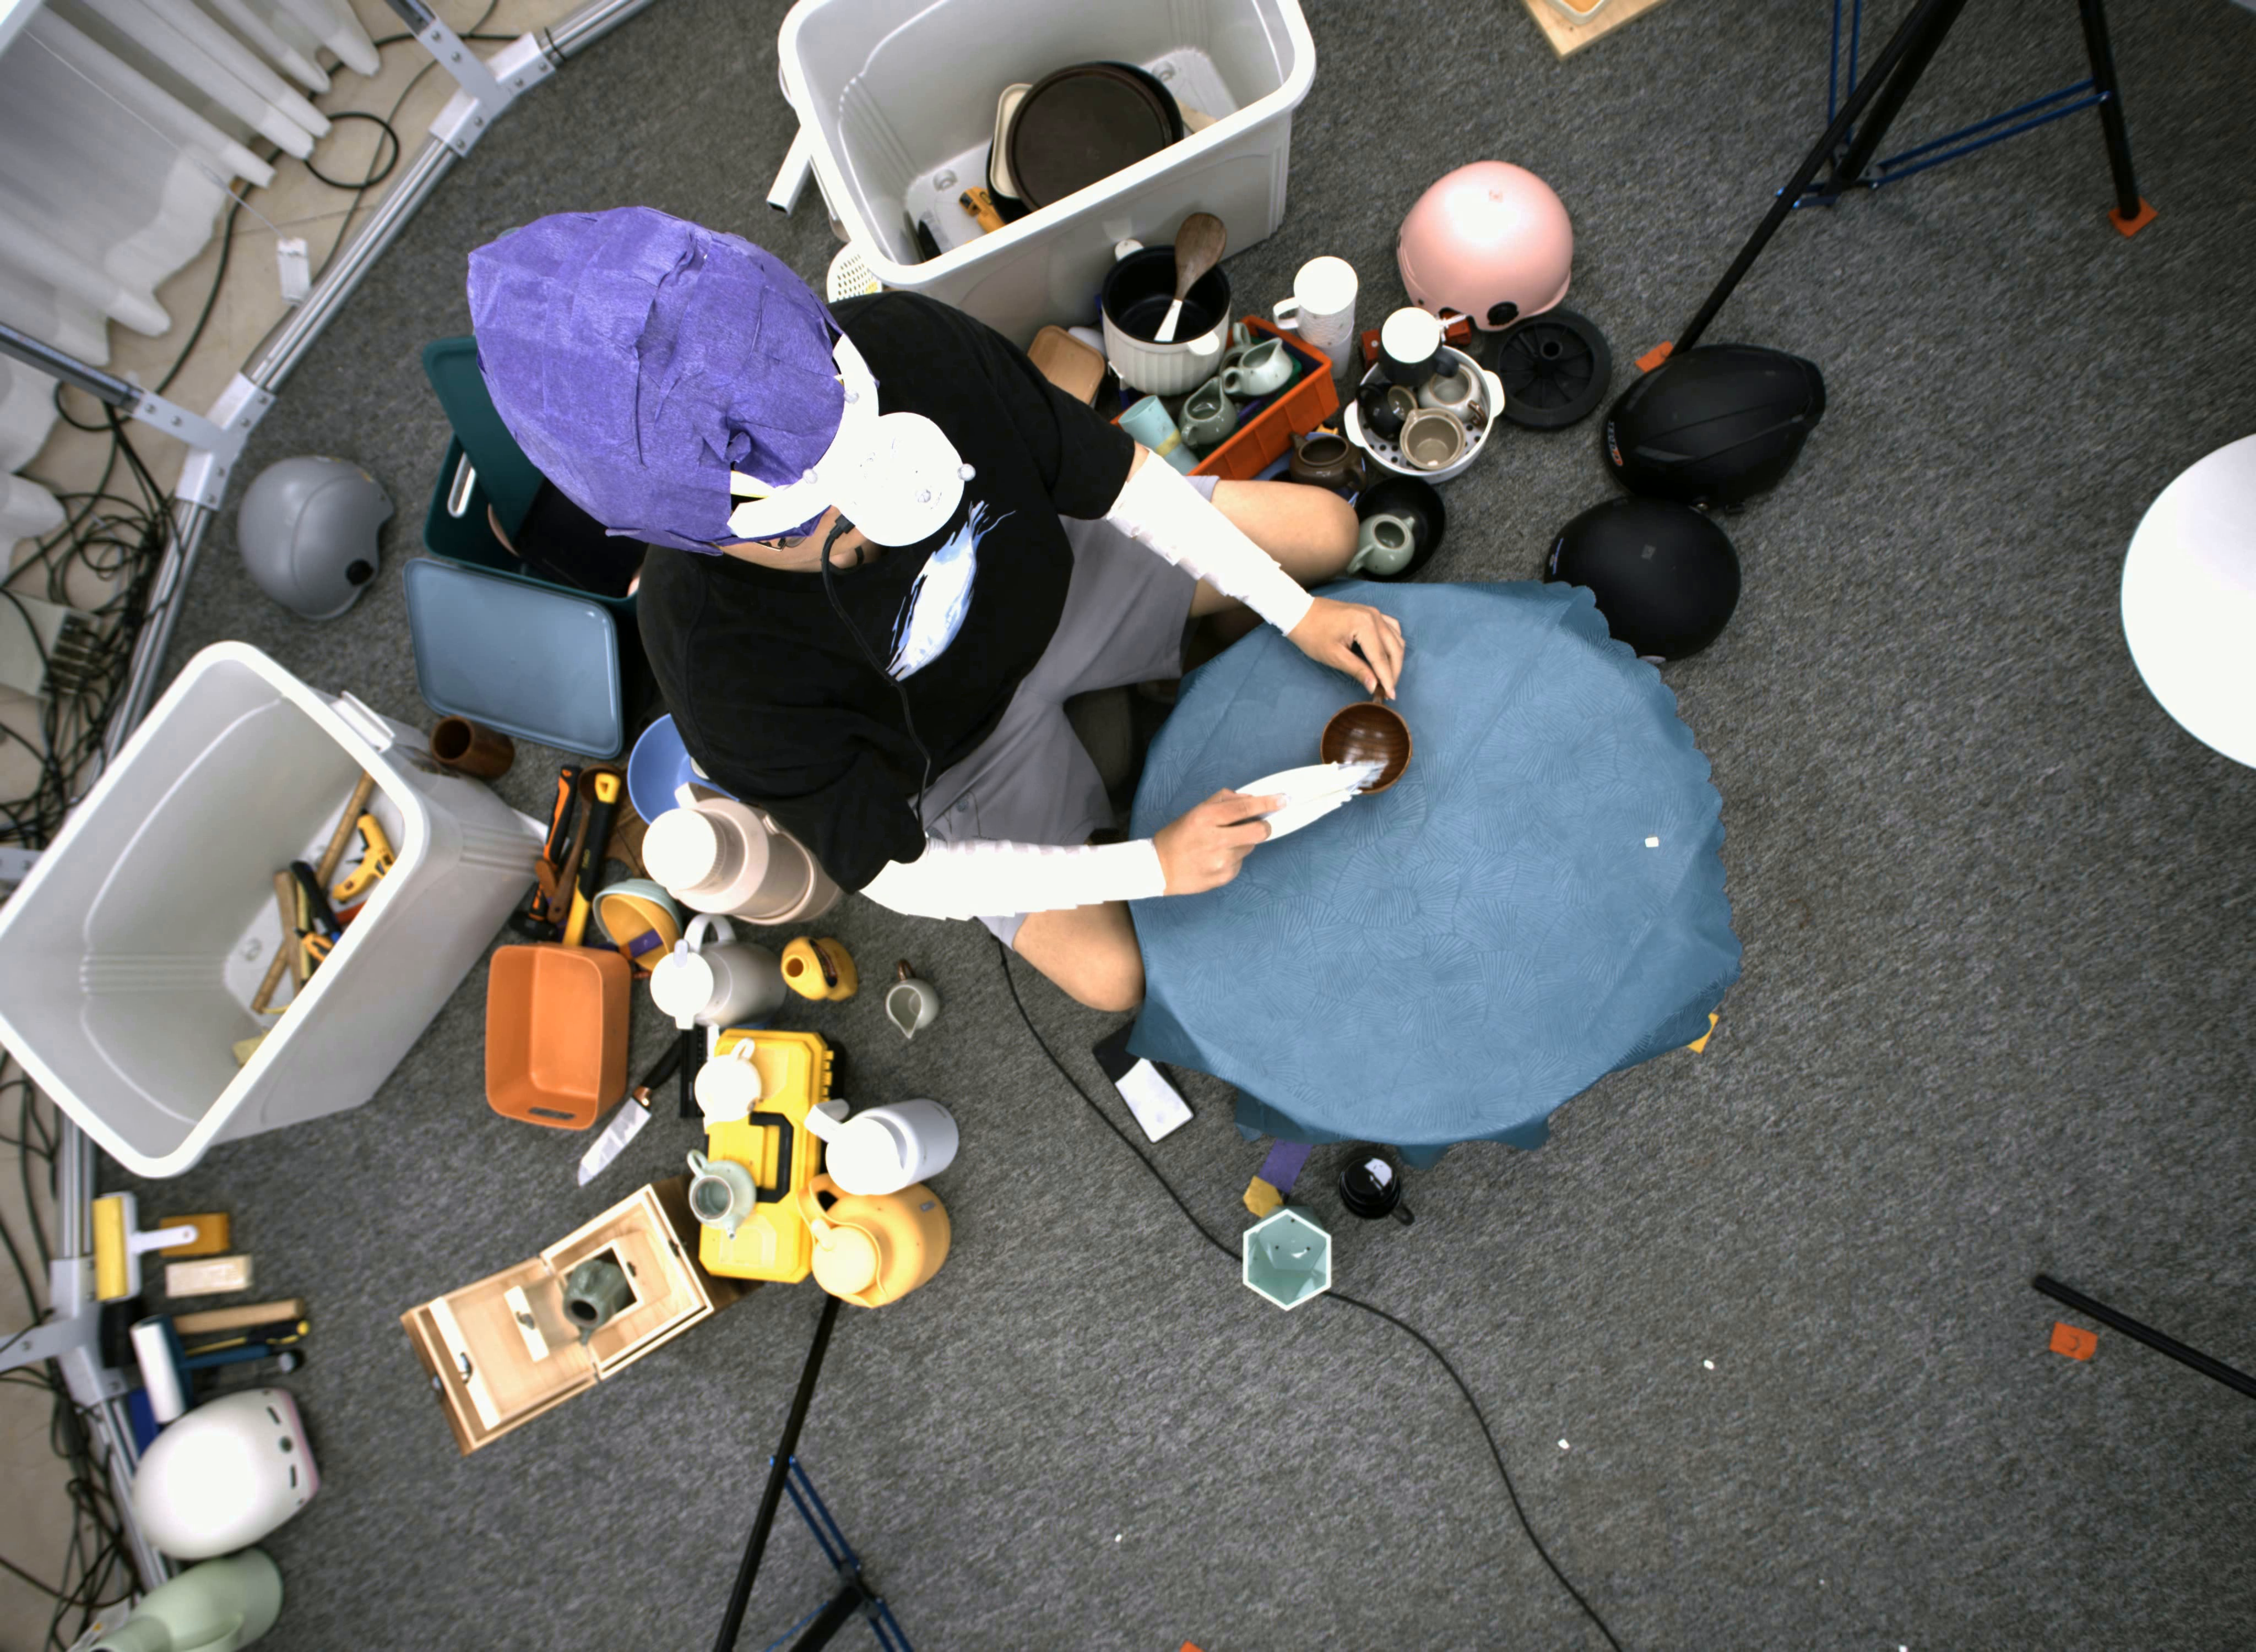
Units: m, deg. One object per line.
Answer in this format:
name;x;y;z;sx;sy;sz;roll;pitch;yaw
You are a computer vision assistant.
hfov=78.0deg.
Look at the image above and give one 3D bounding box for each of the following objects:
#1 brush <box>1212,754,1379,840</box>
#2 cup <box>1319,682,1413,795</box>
brush;0.164;-0.032;1.389;0.178;0.092;0.061;-20;95;28
cup;0.252;-0.090;1.437;0.096;0.068;0.119;12;87;14
